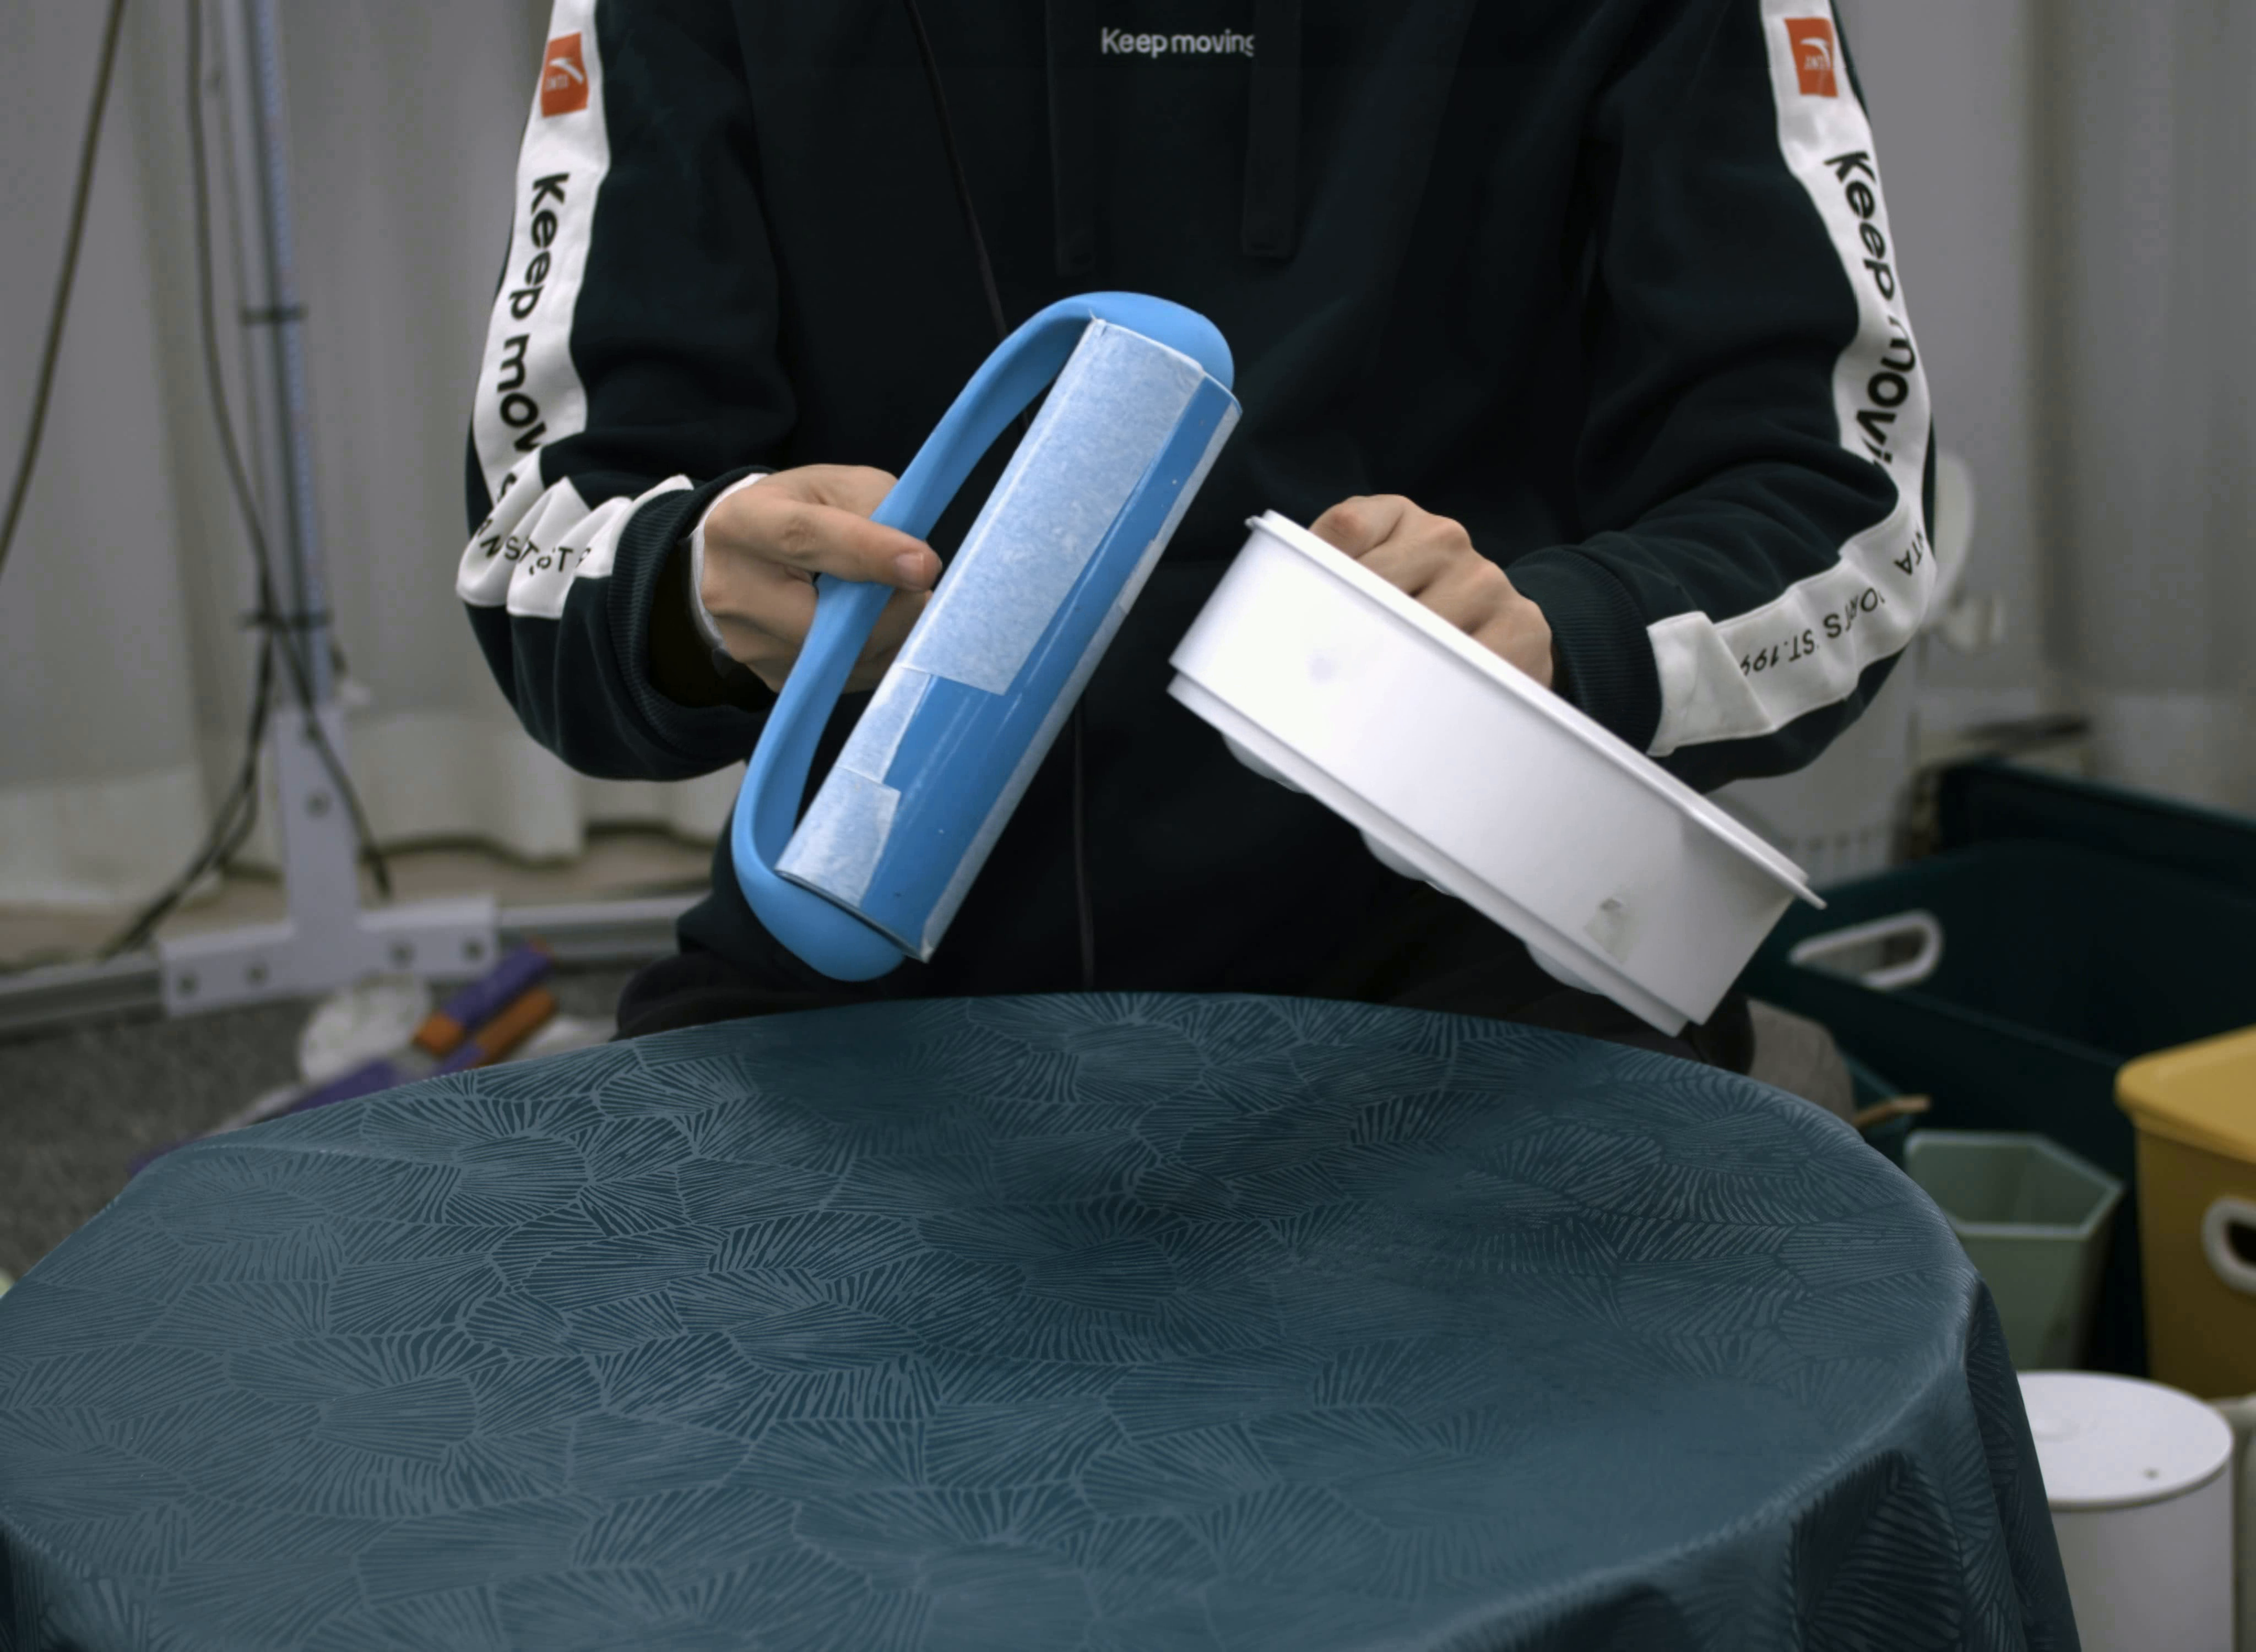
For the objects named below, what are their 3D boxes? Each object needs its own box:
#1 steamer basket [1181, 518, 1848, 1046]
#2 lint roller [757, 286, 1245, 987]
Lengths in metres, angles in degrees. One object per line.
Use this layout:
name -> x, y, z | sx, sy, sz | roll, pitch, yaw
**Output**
steamer basket -> 0.108, -0.010, 1.632 | 0.233, 0.069, 0.199 | 34, -1, 39
lint roller -> -0.061, -0.061, 1.686 | 0.067, 0.230, 0.181 | 31, -12, -28
